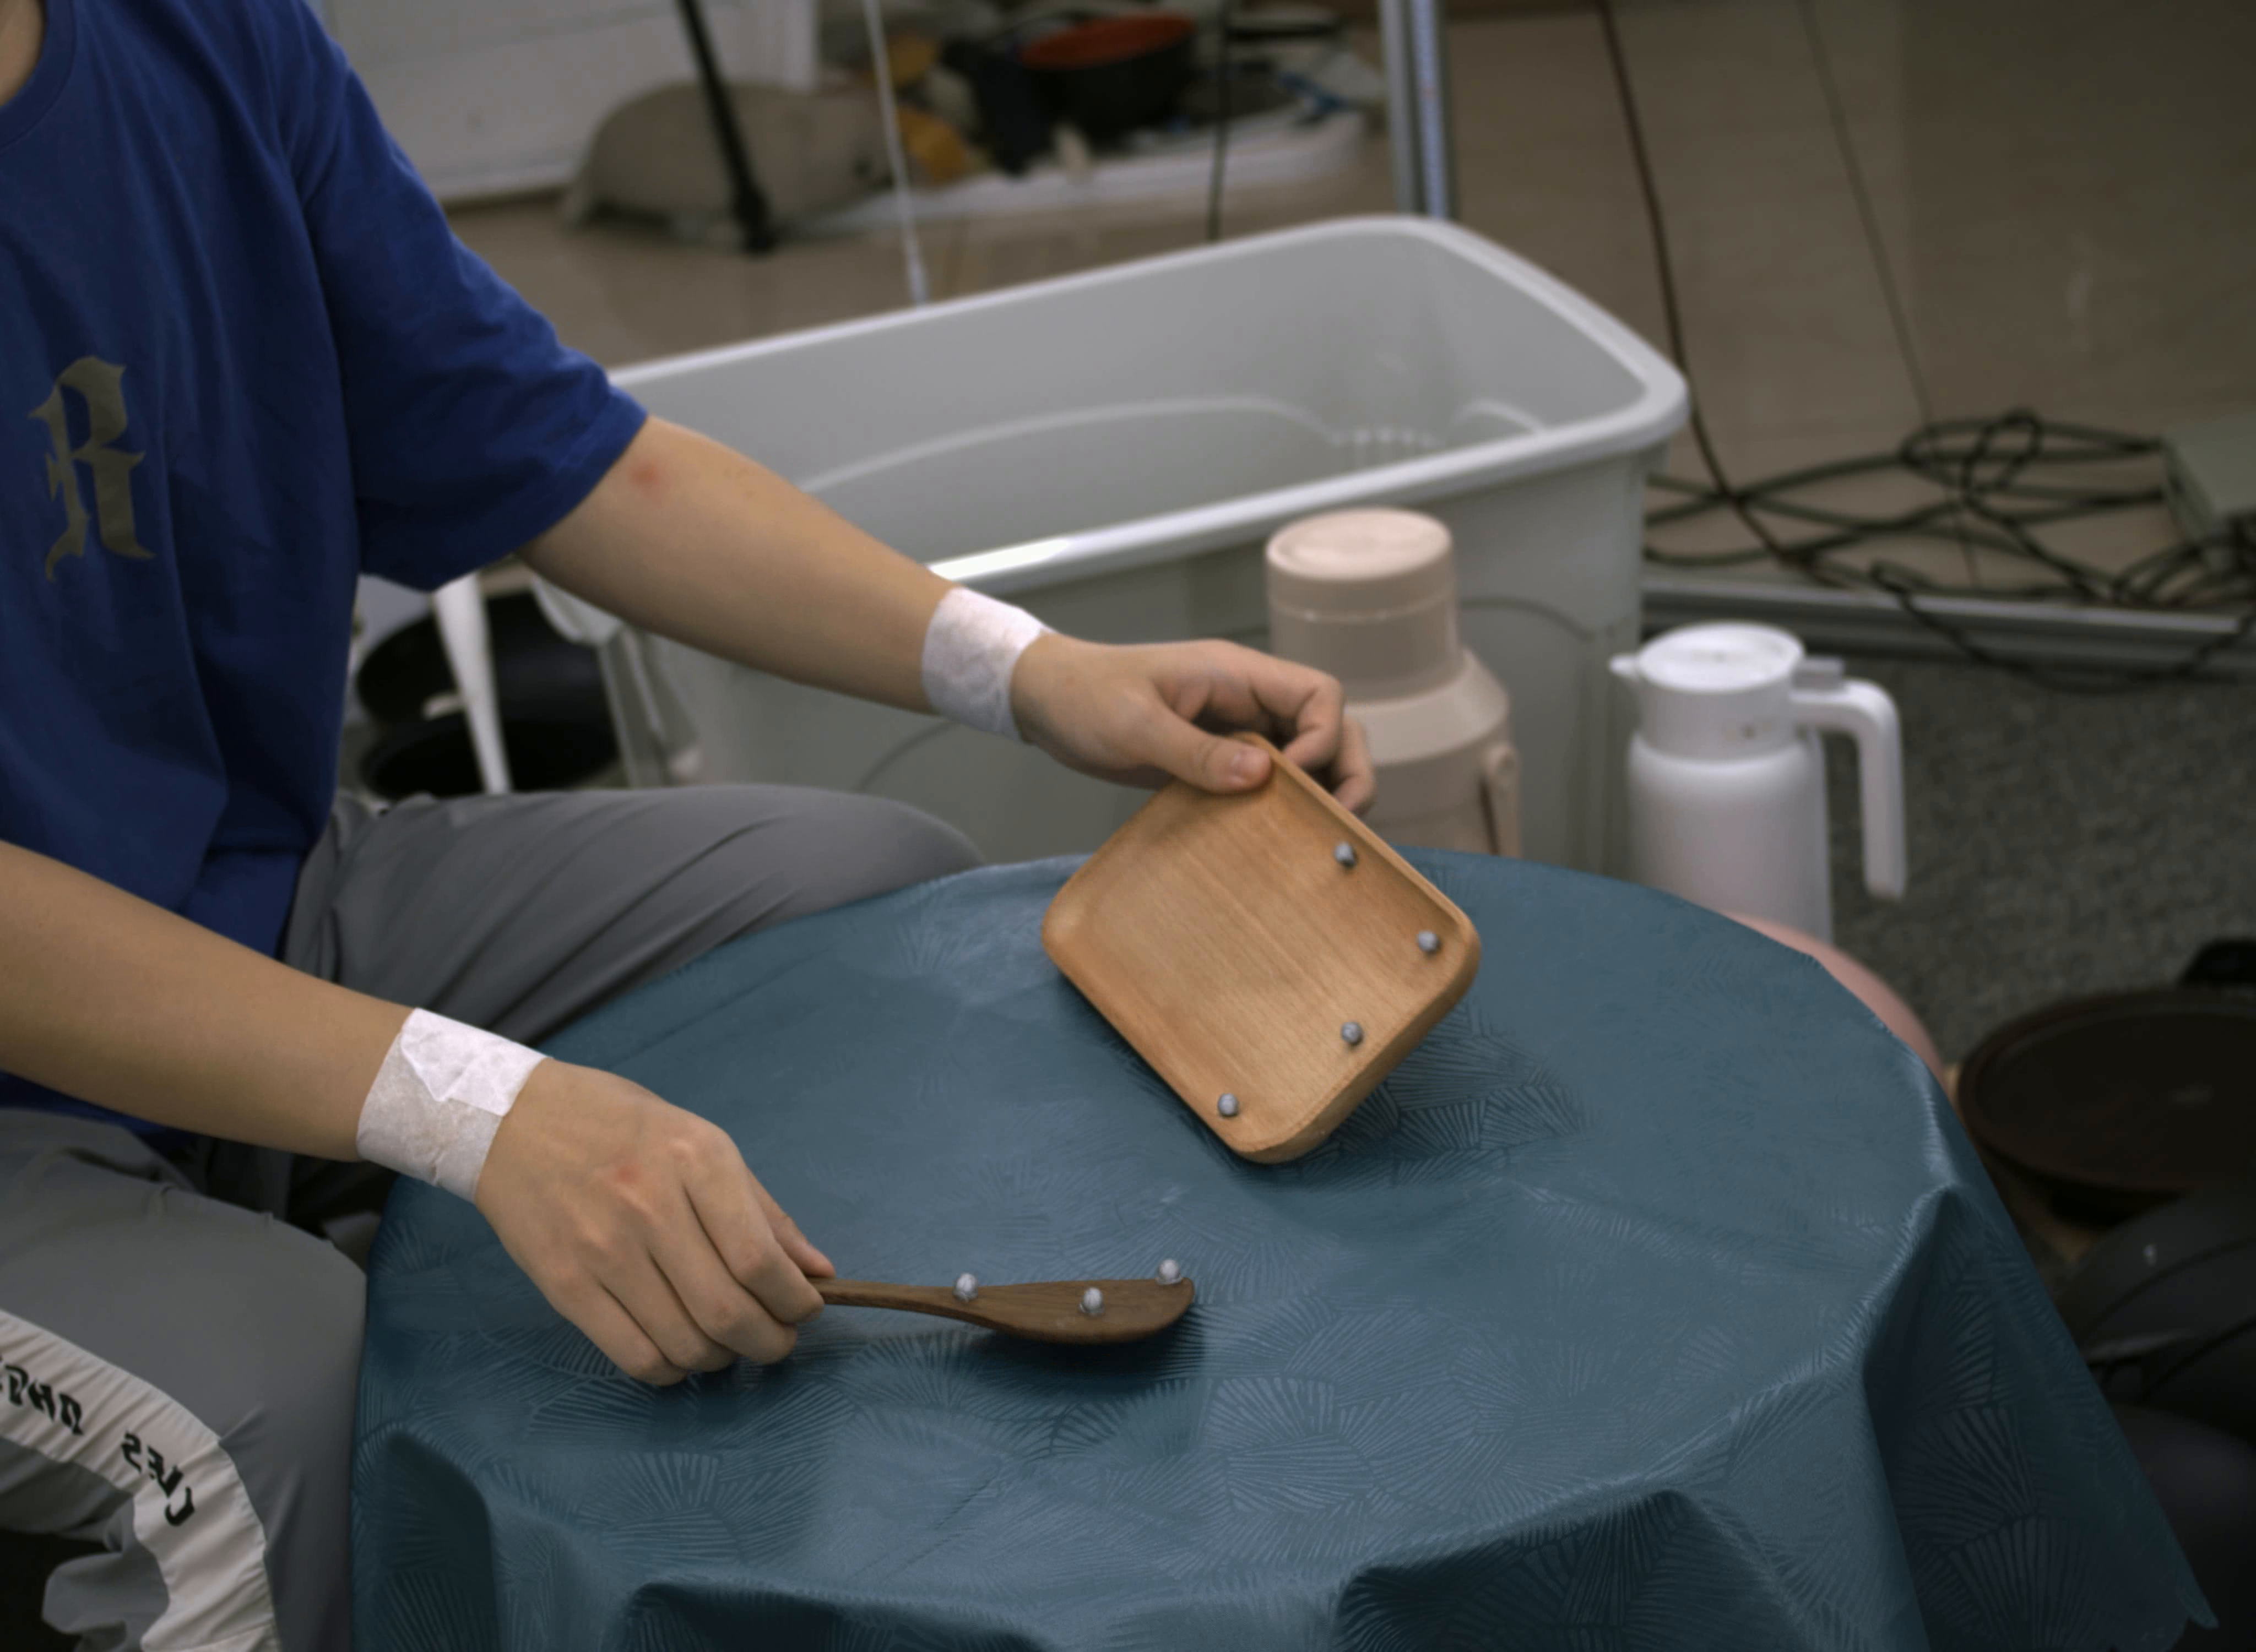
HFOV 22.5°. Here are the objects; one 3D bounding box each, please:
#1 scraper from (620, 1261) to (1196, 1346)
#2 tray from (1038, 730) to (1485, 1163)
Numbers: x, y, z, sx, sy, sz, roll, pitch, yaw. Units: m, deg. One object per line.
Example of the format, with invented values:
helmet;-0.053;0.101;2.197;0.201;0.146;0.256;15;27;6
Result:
scraper;-0.081;0.170;2.058;0.211;0.011;0.075;3;13;9
tray;0.051;0.046;2.242;0.130;0.023;0.247;-41;31;-2
